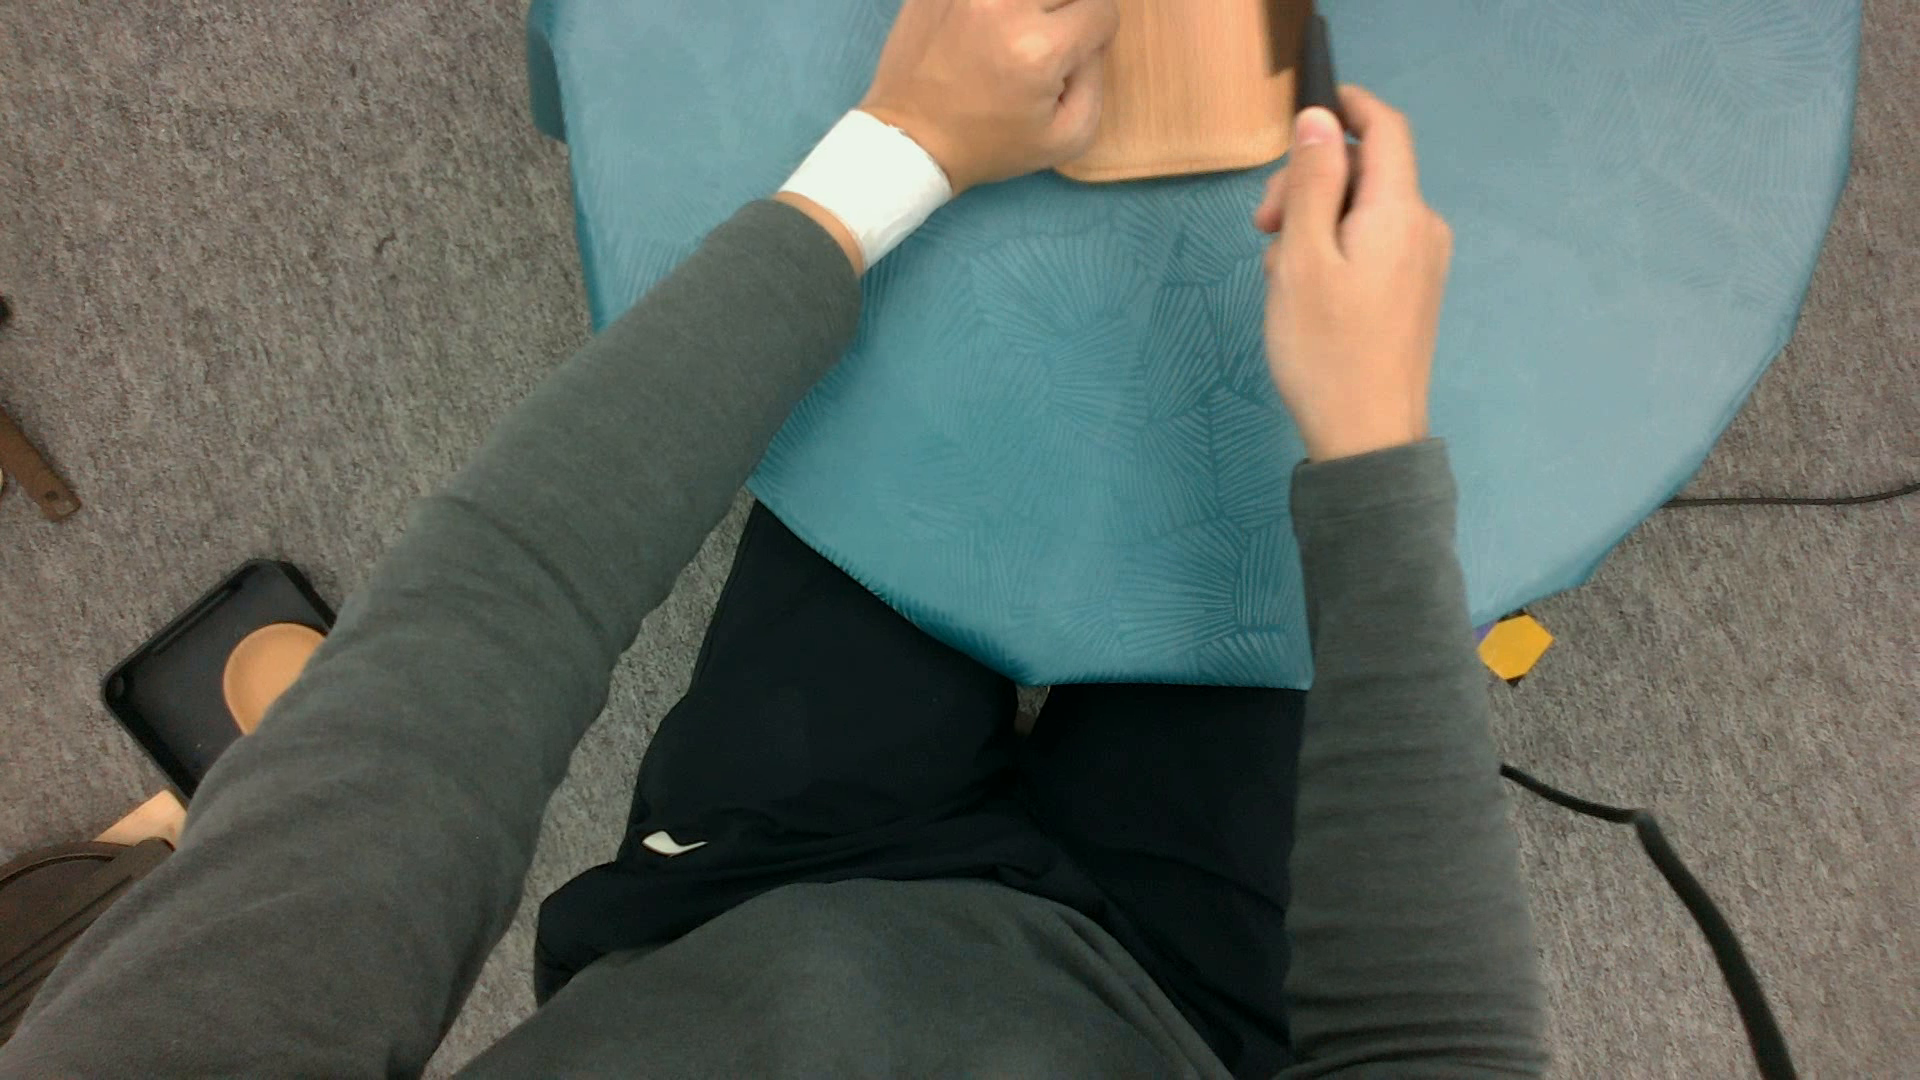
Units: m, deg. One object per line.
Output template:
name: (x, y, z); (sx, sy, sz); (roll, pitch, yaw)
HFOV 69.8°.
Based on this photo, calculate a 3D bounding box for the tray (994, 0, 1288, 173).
tray: (0.075, -0.293, 0.619); (0.130, 0.023, 0.250); (-5, 93, -1)

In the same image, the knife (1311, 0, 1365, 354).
knife: (0.146, -0.226, 0.548); (0.021, 0.081, 0.302); (-2, 94, 8)
